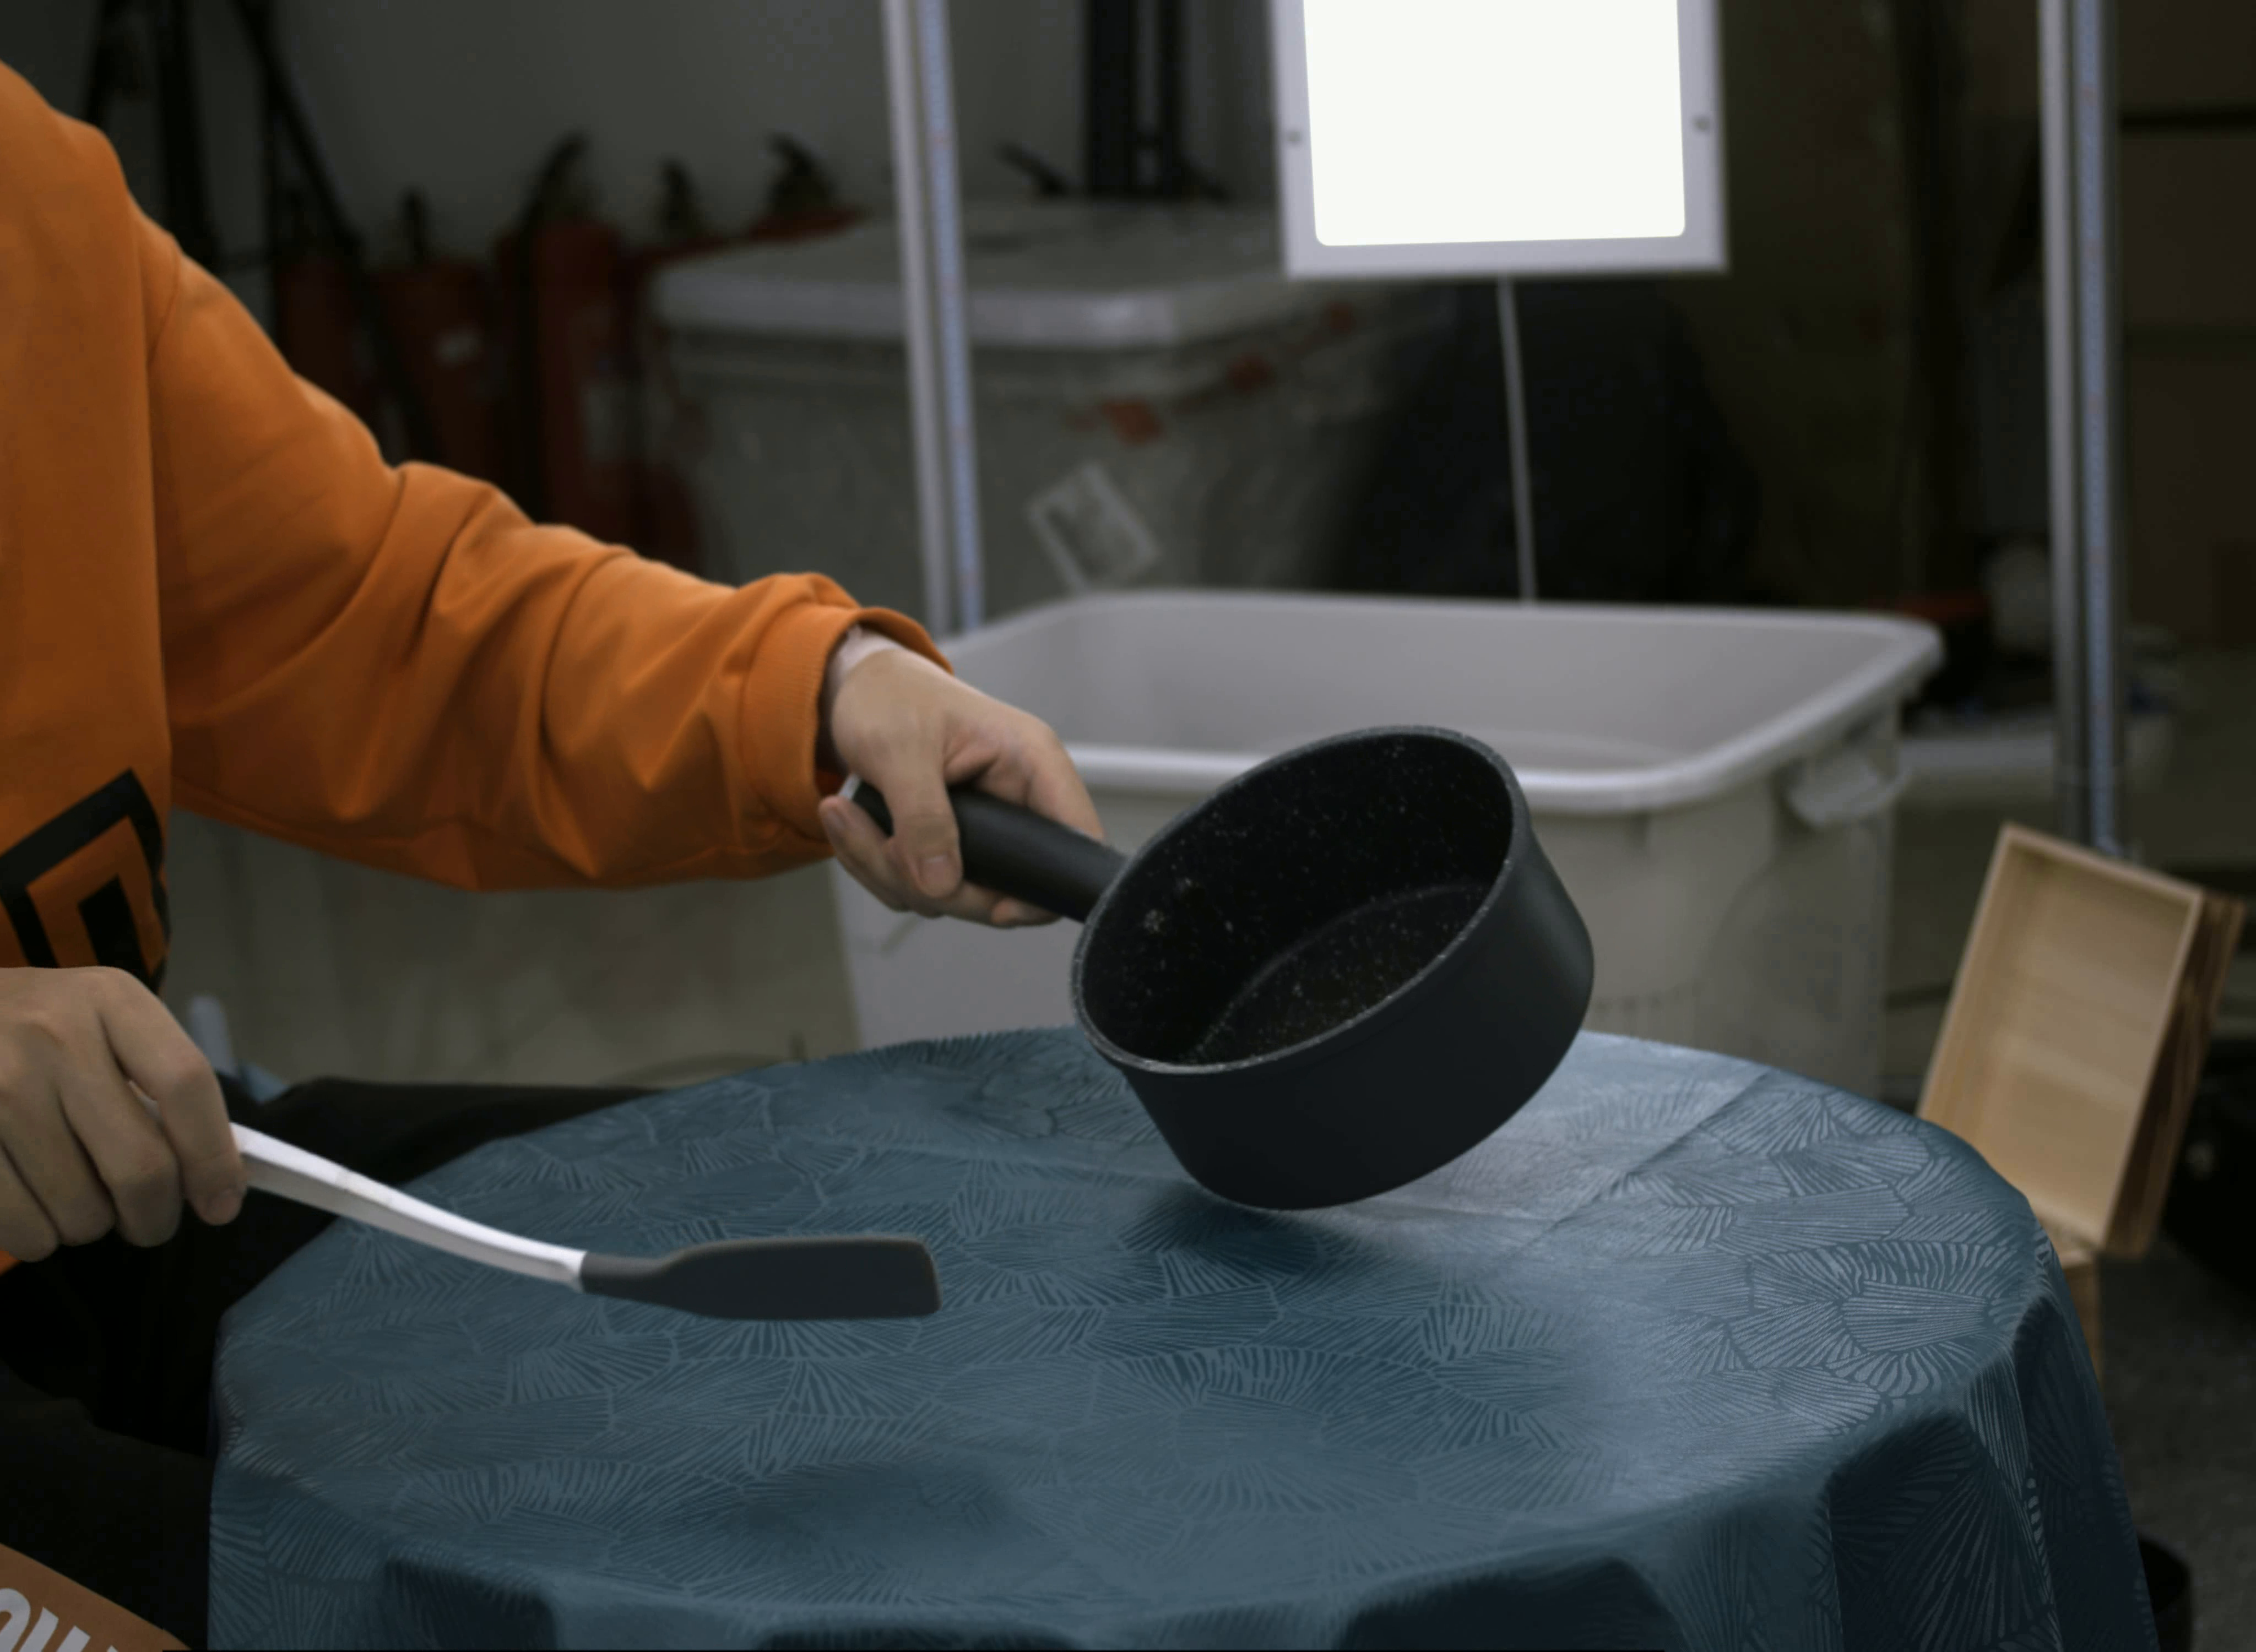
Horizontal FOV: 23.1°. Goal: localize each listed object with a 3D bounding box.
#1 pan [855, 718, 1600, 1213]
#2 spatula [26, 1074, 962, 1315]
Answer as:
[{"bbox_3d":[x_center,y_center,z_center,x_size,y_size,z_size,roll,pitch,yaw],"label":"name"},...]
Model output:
[{"bbox_3d":[0.023,0.034,1.941,0.169,0.086,0.335,-45,35,-21],"label":"pan"},{"bbox_3d":[-0.191,0.115,1.661,0.289,0.059,0.032,10,55,12],"label":"spatula"}]
